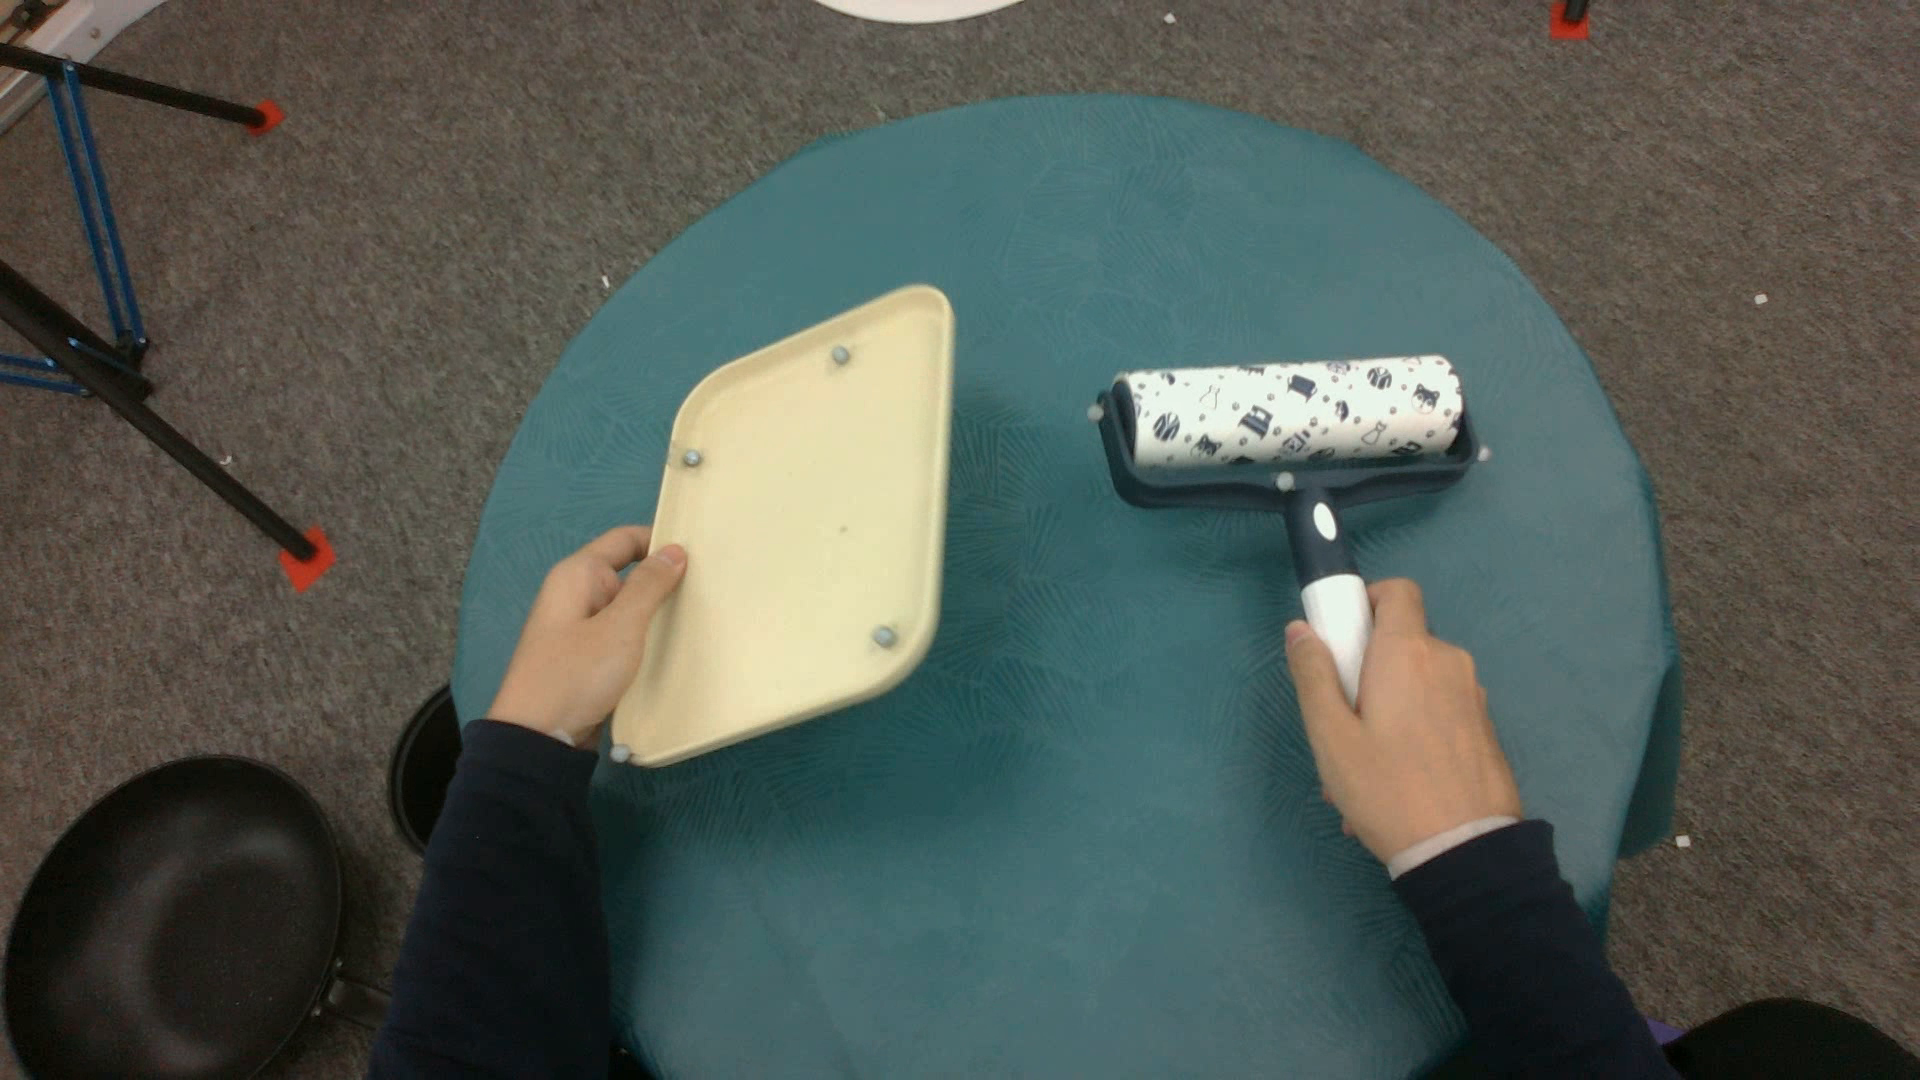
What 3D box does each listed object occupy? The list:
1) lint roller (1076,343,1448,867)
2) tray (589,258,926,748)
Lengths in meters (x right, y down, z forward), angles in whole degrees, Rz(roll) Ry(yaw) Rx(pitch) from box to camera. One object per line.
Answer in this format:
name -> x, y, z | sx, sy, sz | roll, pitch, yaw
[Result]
lint roller -> 0.160, 0.019, 0.615 | 0.176, 0.050, 0.248 | -4, 63, -14
tray -> -0.088, -0.022, 0.637 | 0.171, 0.017, 0.241 | -19, 48, 24
